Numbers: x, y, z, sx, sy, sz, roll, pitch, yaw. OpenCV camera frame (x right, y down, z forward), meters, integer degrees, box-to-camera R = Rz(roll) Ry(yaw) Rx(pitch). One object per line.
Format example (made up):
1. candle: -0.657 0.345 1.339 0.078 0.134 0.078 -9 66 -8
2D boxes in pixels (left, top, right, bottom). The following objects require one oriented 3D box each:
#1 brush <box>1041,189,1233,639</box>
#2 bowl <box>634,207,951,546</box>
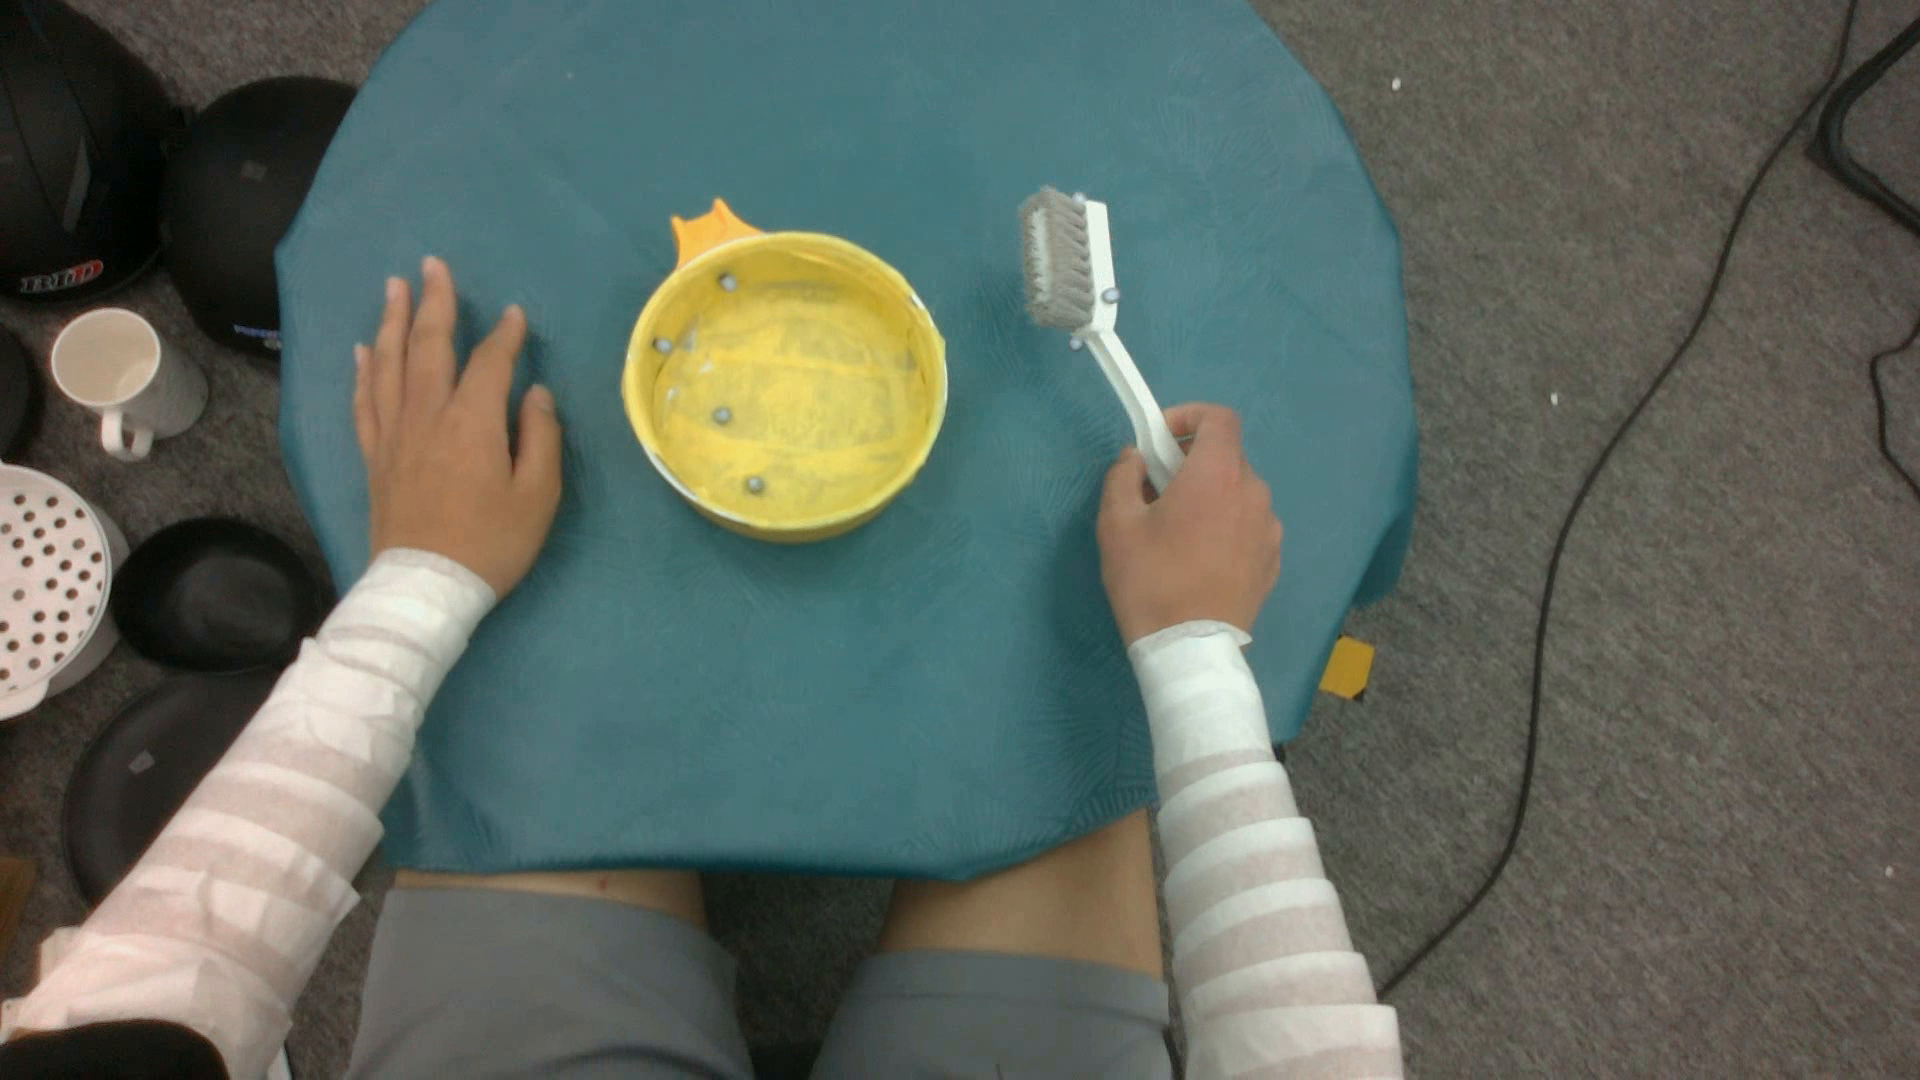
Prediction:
1. brush: 0.087 -0.060 0.704 0.050 0.034 0.243 -18 94 -23
2. bowl: -0.088 -0.083 0.701 0.153 0.074 0.179 -31 81 -8
